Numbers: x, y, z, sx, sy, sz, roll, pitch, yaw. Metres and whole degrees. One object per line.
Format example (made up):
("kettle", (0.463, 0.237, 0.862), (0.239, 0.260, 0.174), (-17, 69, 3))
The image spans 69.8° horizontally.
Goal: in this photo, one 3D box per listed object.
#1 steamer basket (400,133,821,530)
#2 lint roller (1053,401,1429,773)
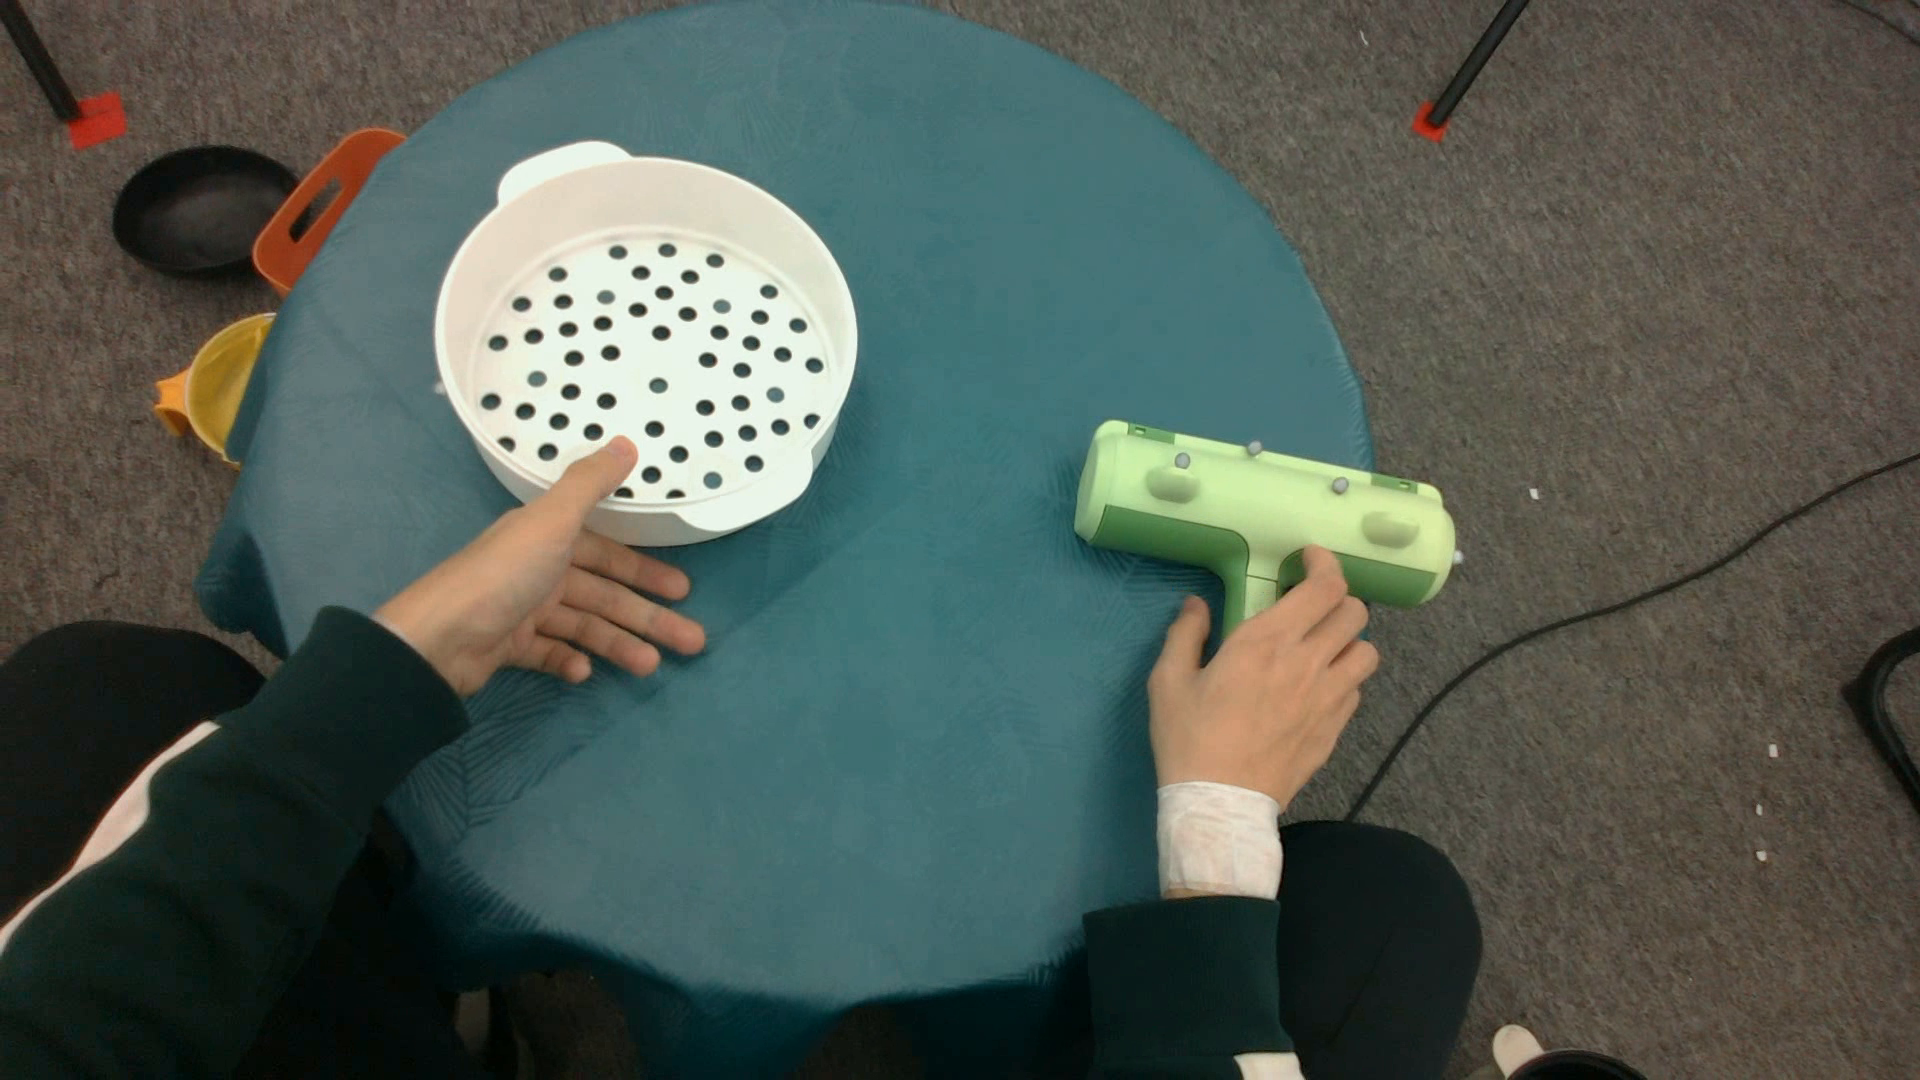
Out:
("steamer basket", (-0.174, -0.102, 0.703), (0.202, 0.069, 0.231), (-29, 73, -22))
("lint roller", (0.145, 0.022, 0.704), (0.198, 0.082, 0.184), (10, 61, -6))
